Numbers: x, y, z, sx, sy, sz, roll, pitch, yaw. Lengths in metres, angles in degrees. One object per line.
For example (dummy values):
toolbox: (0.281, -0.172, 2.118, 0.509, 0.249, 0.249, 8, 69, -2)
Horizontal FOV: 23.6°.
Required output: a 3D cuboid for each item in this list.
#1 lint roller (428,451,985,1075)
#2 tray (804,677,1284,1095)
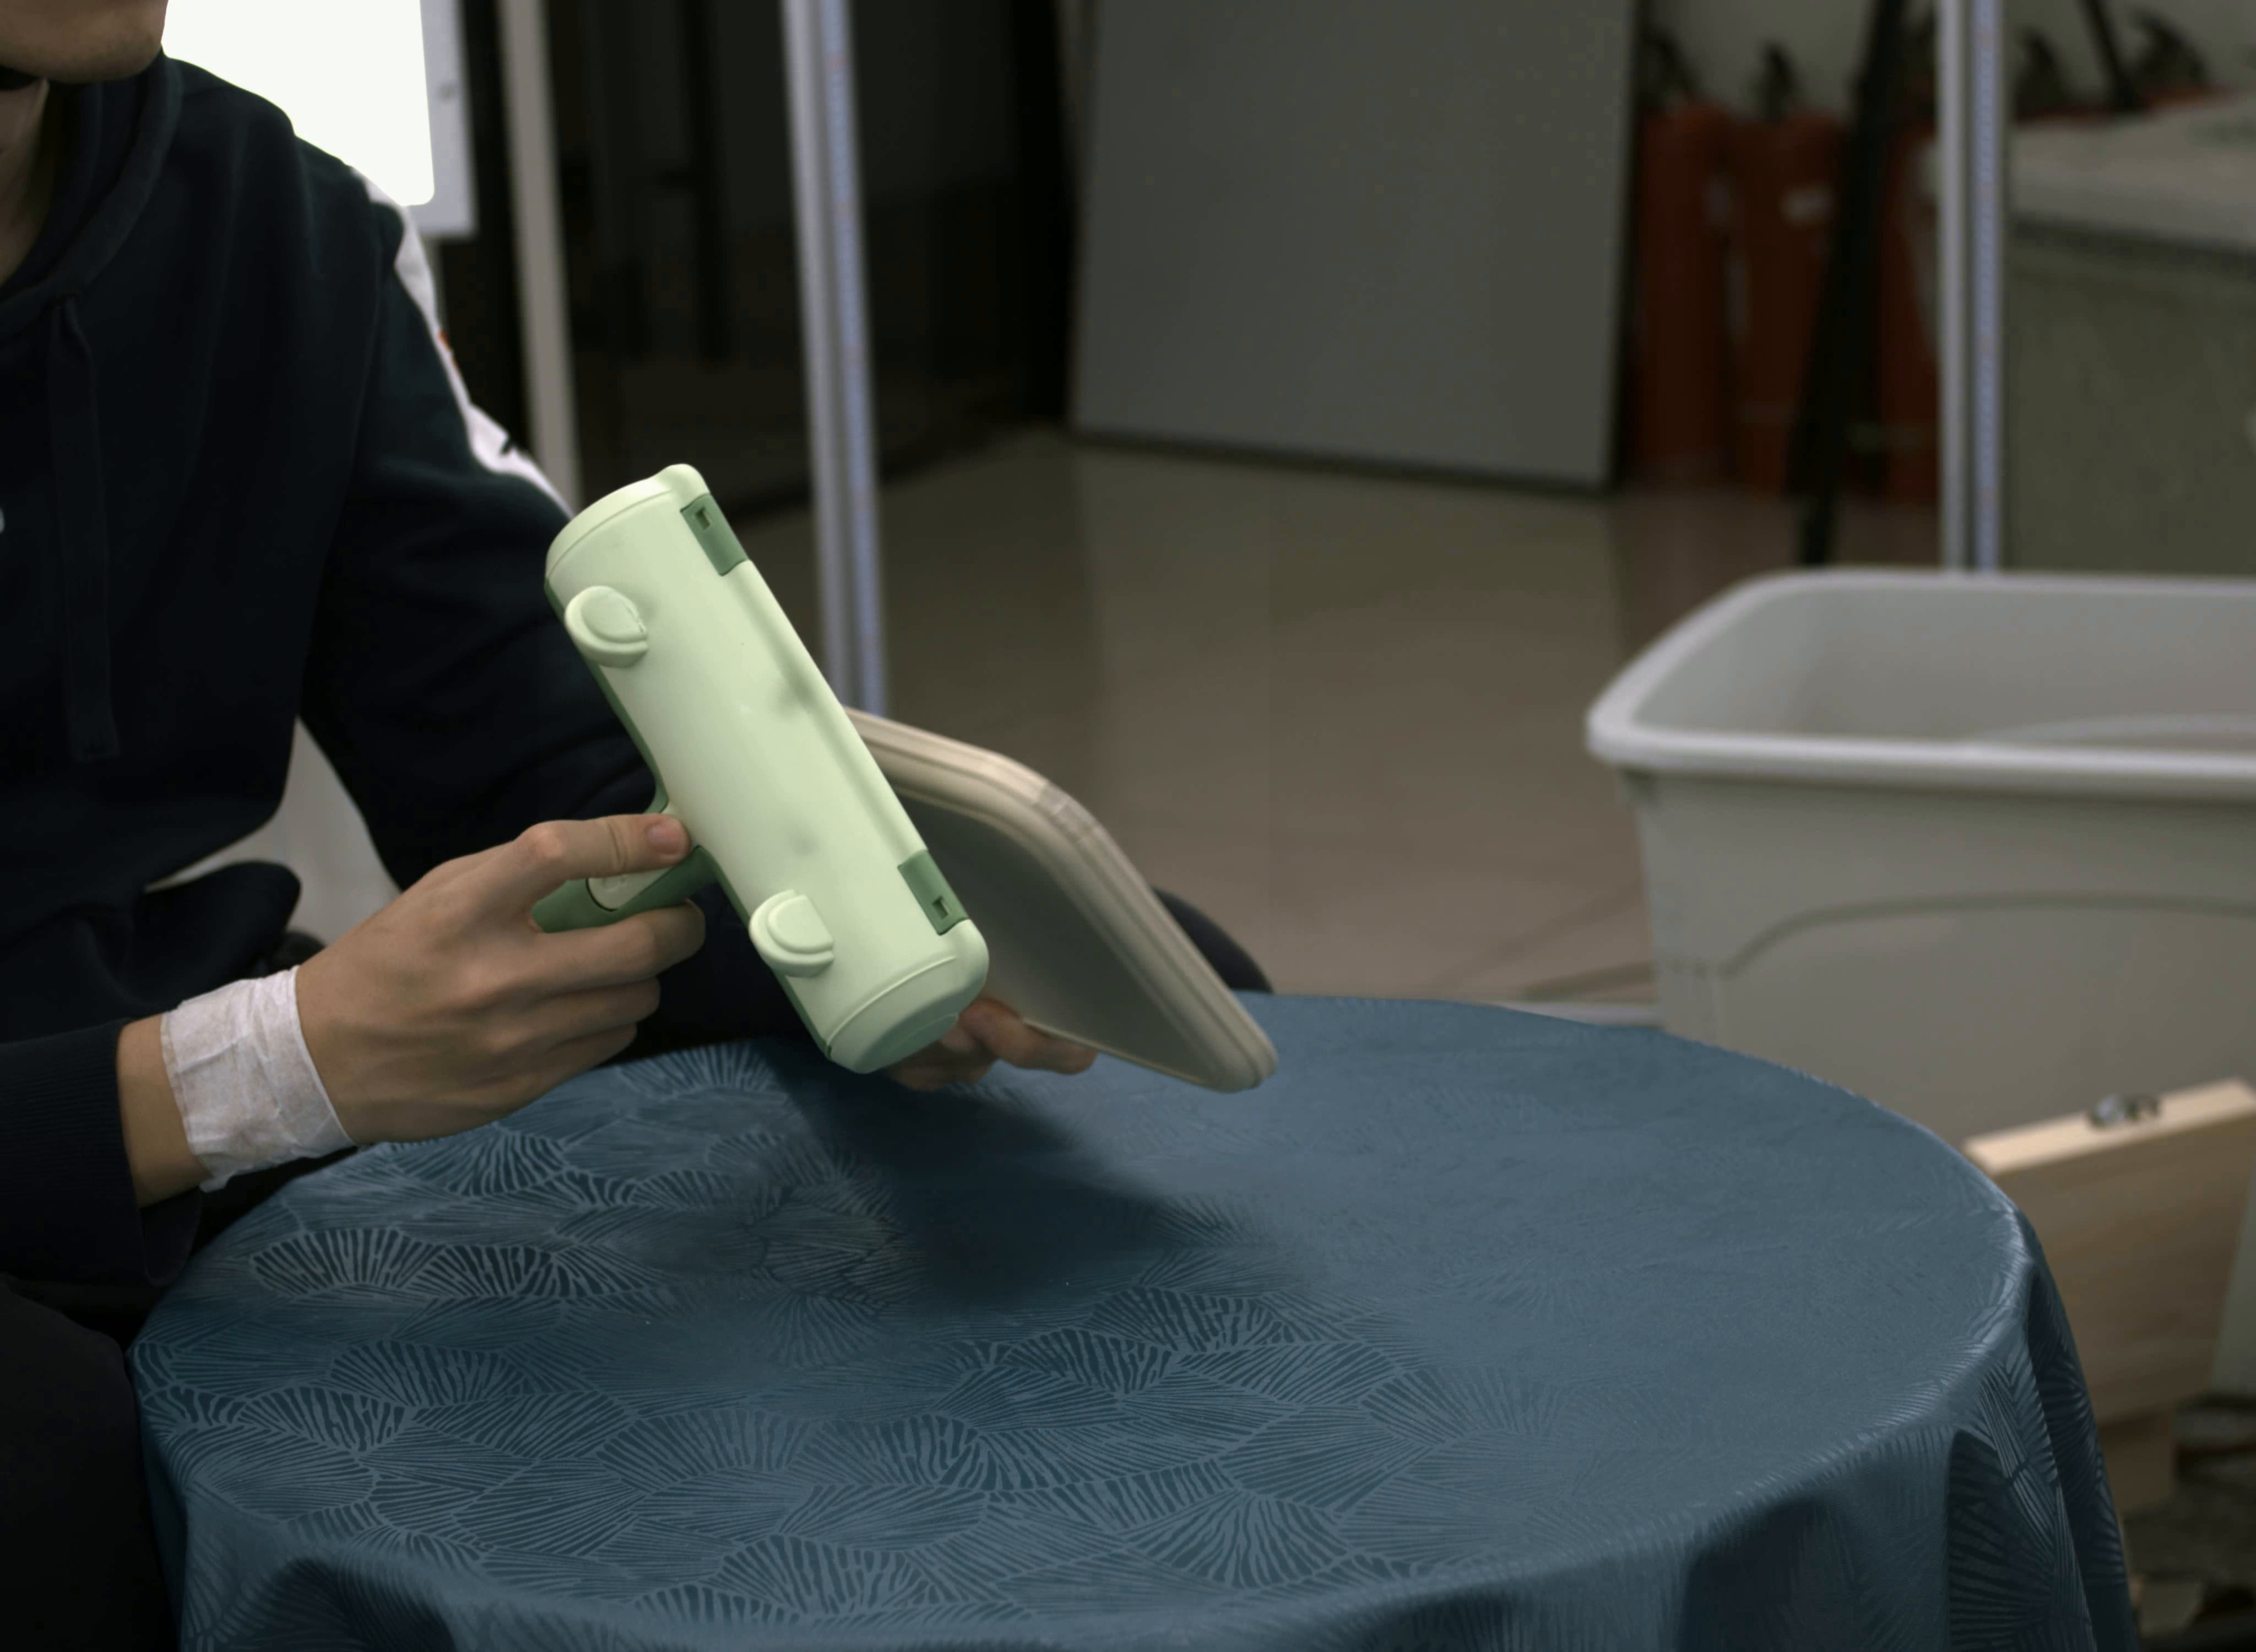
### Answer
lint roller: (-0.159, 0.014, 1.666, 0.184, 0.201, 0.081, -37, -17, 15)
tray: (-0.063, 0.013, 1.754, 0.242, 0.170, 0.017, 17, 62, 46)
